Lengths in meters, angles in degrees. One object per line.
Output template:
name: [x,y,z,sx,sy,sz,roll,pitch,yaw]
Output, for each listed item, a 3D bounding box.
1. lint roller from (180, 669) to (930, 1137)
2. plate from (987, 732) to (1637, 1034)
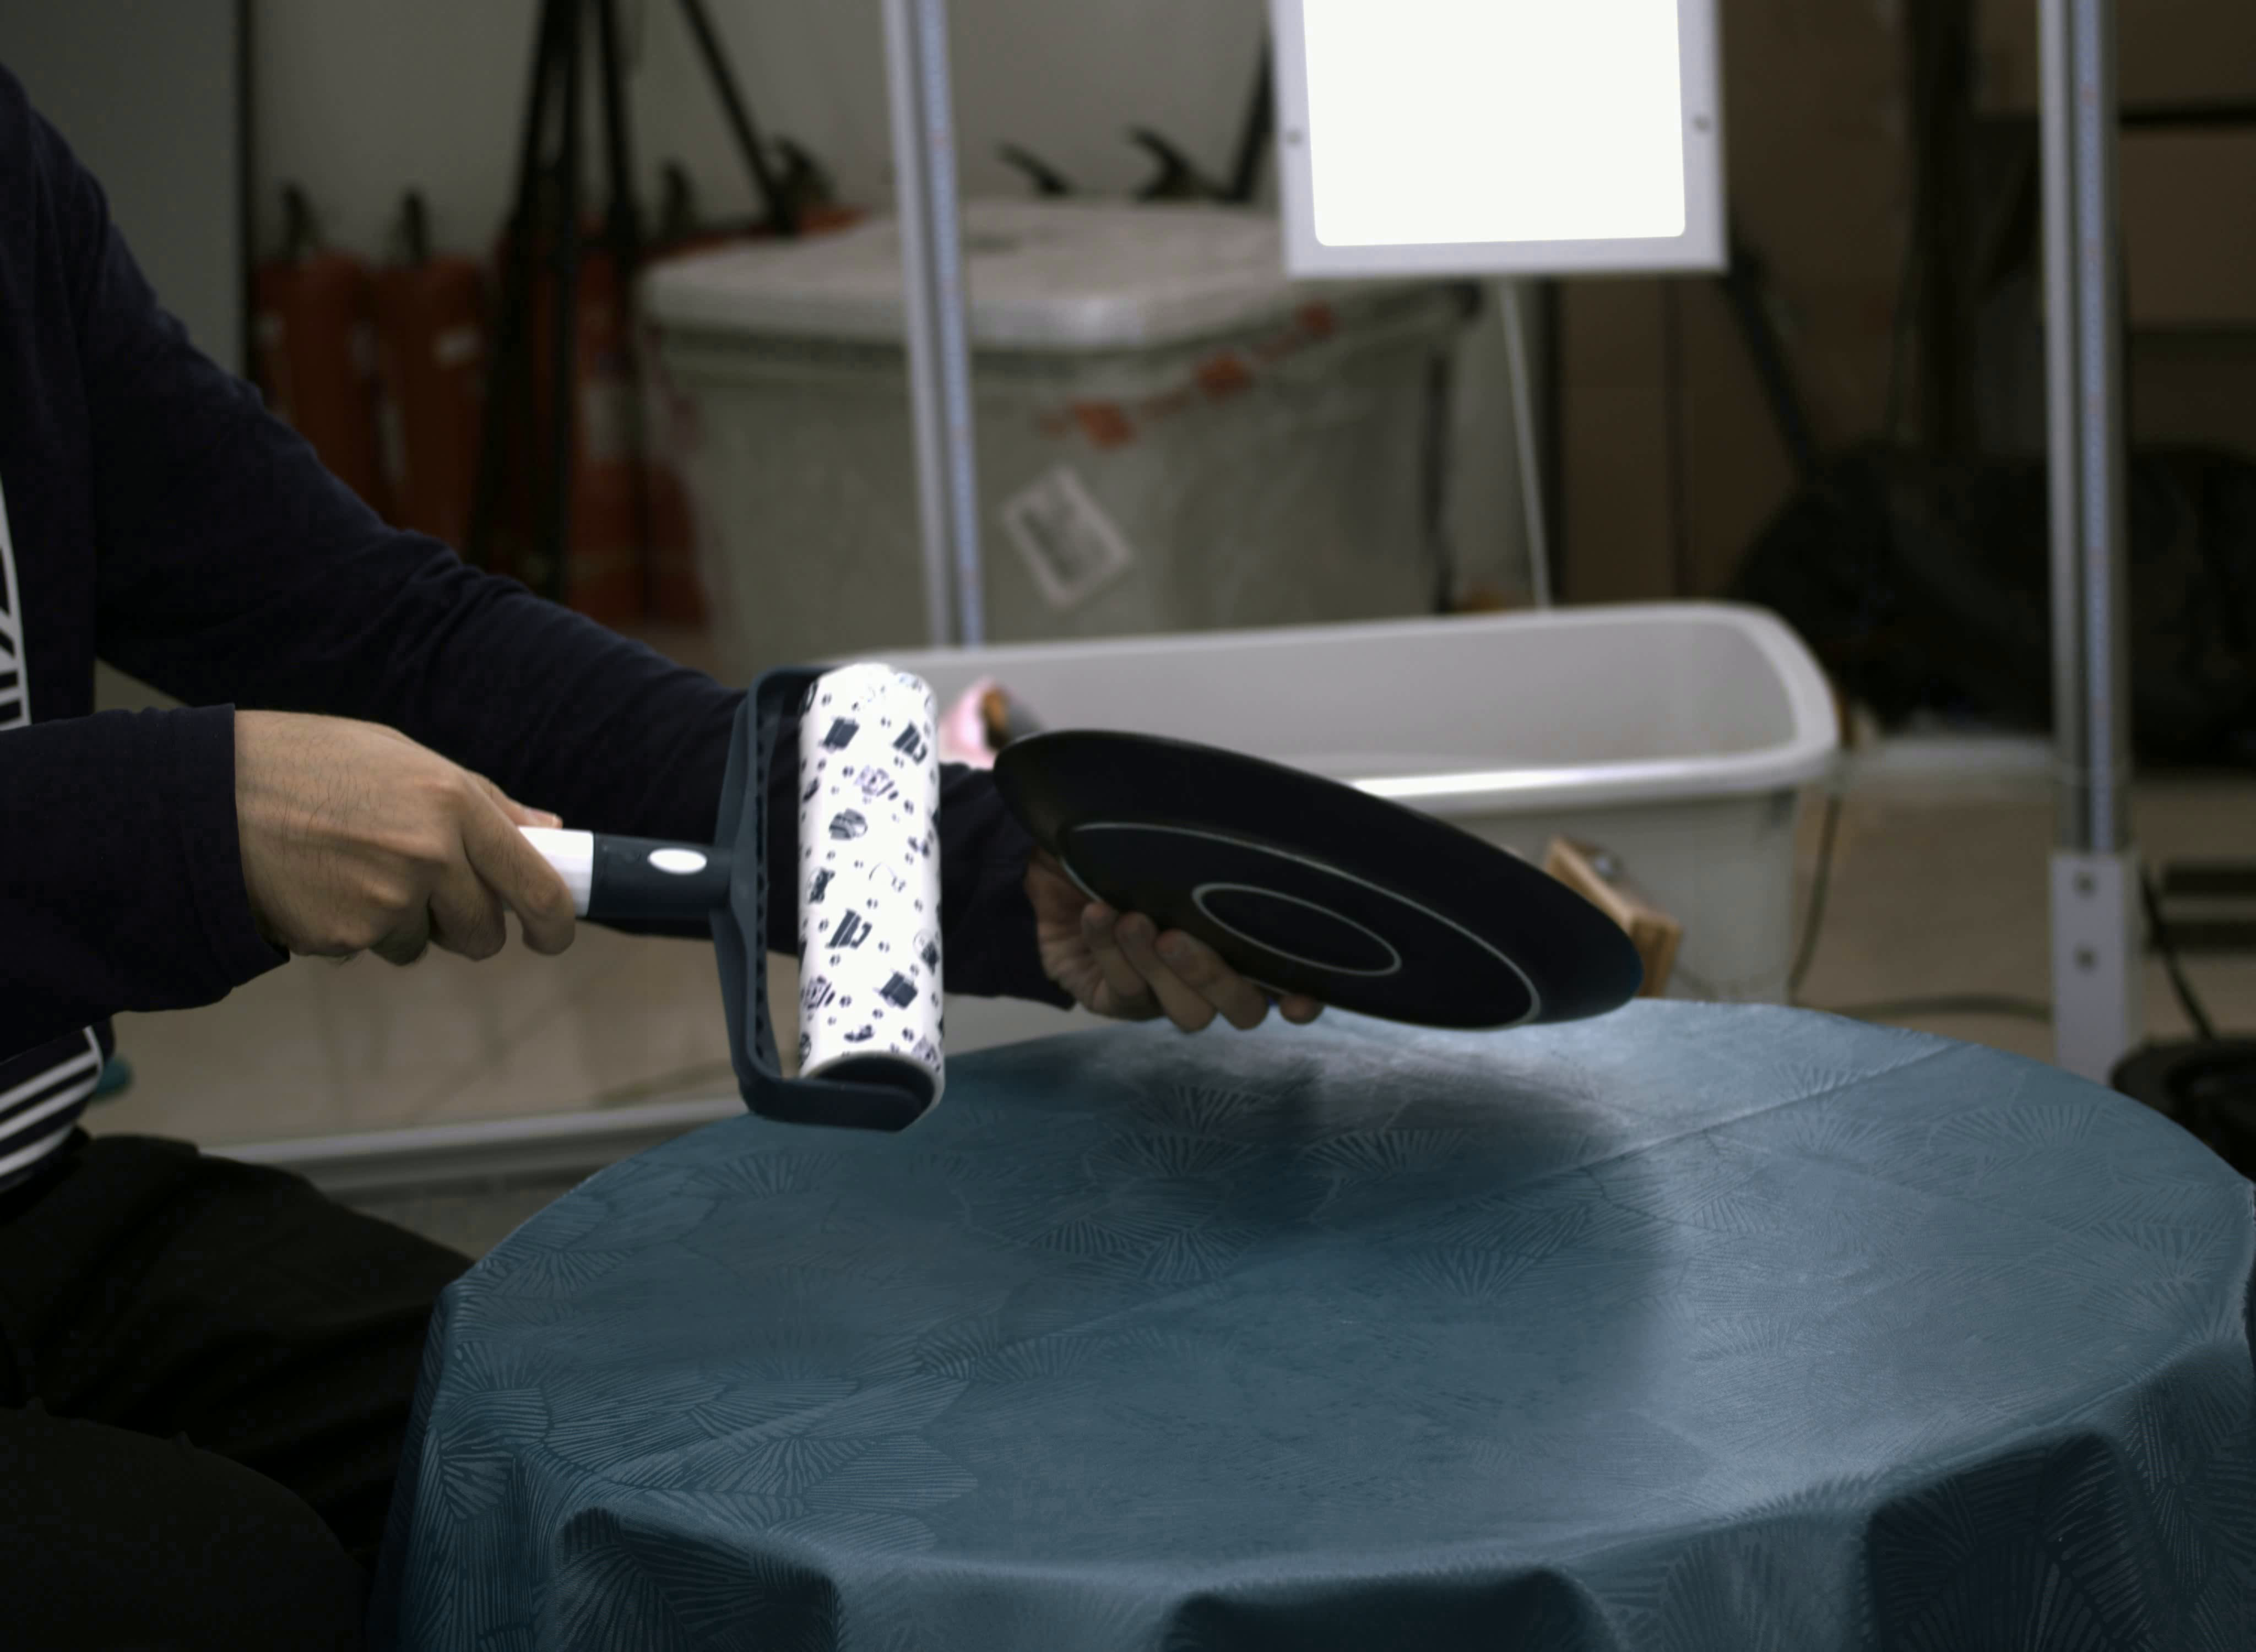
lint roller: [-0.187,0.018,1.816,0.245,0.051,0.176,4,53,-8]
plate: [0.062,0.028,1.943,0.244,0.023,0.245,19,-15,4]
